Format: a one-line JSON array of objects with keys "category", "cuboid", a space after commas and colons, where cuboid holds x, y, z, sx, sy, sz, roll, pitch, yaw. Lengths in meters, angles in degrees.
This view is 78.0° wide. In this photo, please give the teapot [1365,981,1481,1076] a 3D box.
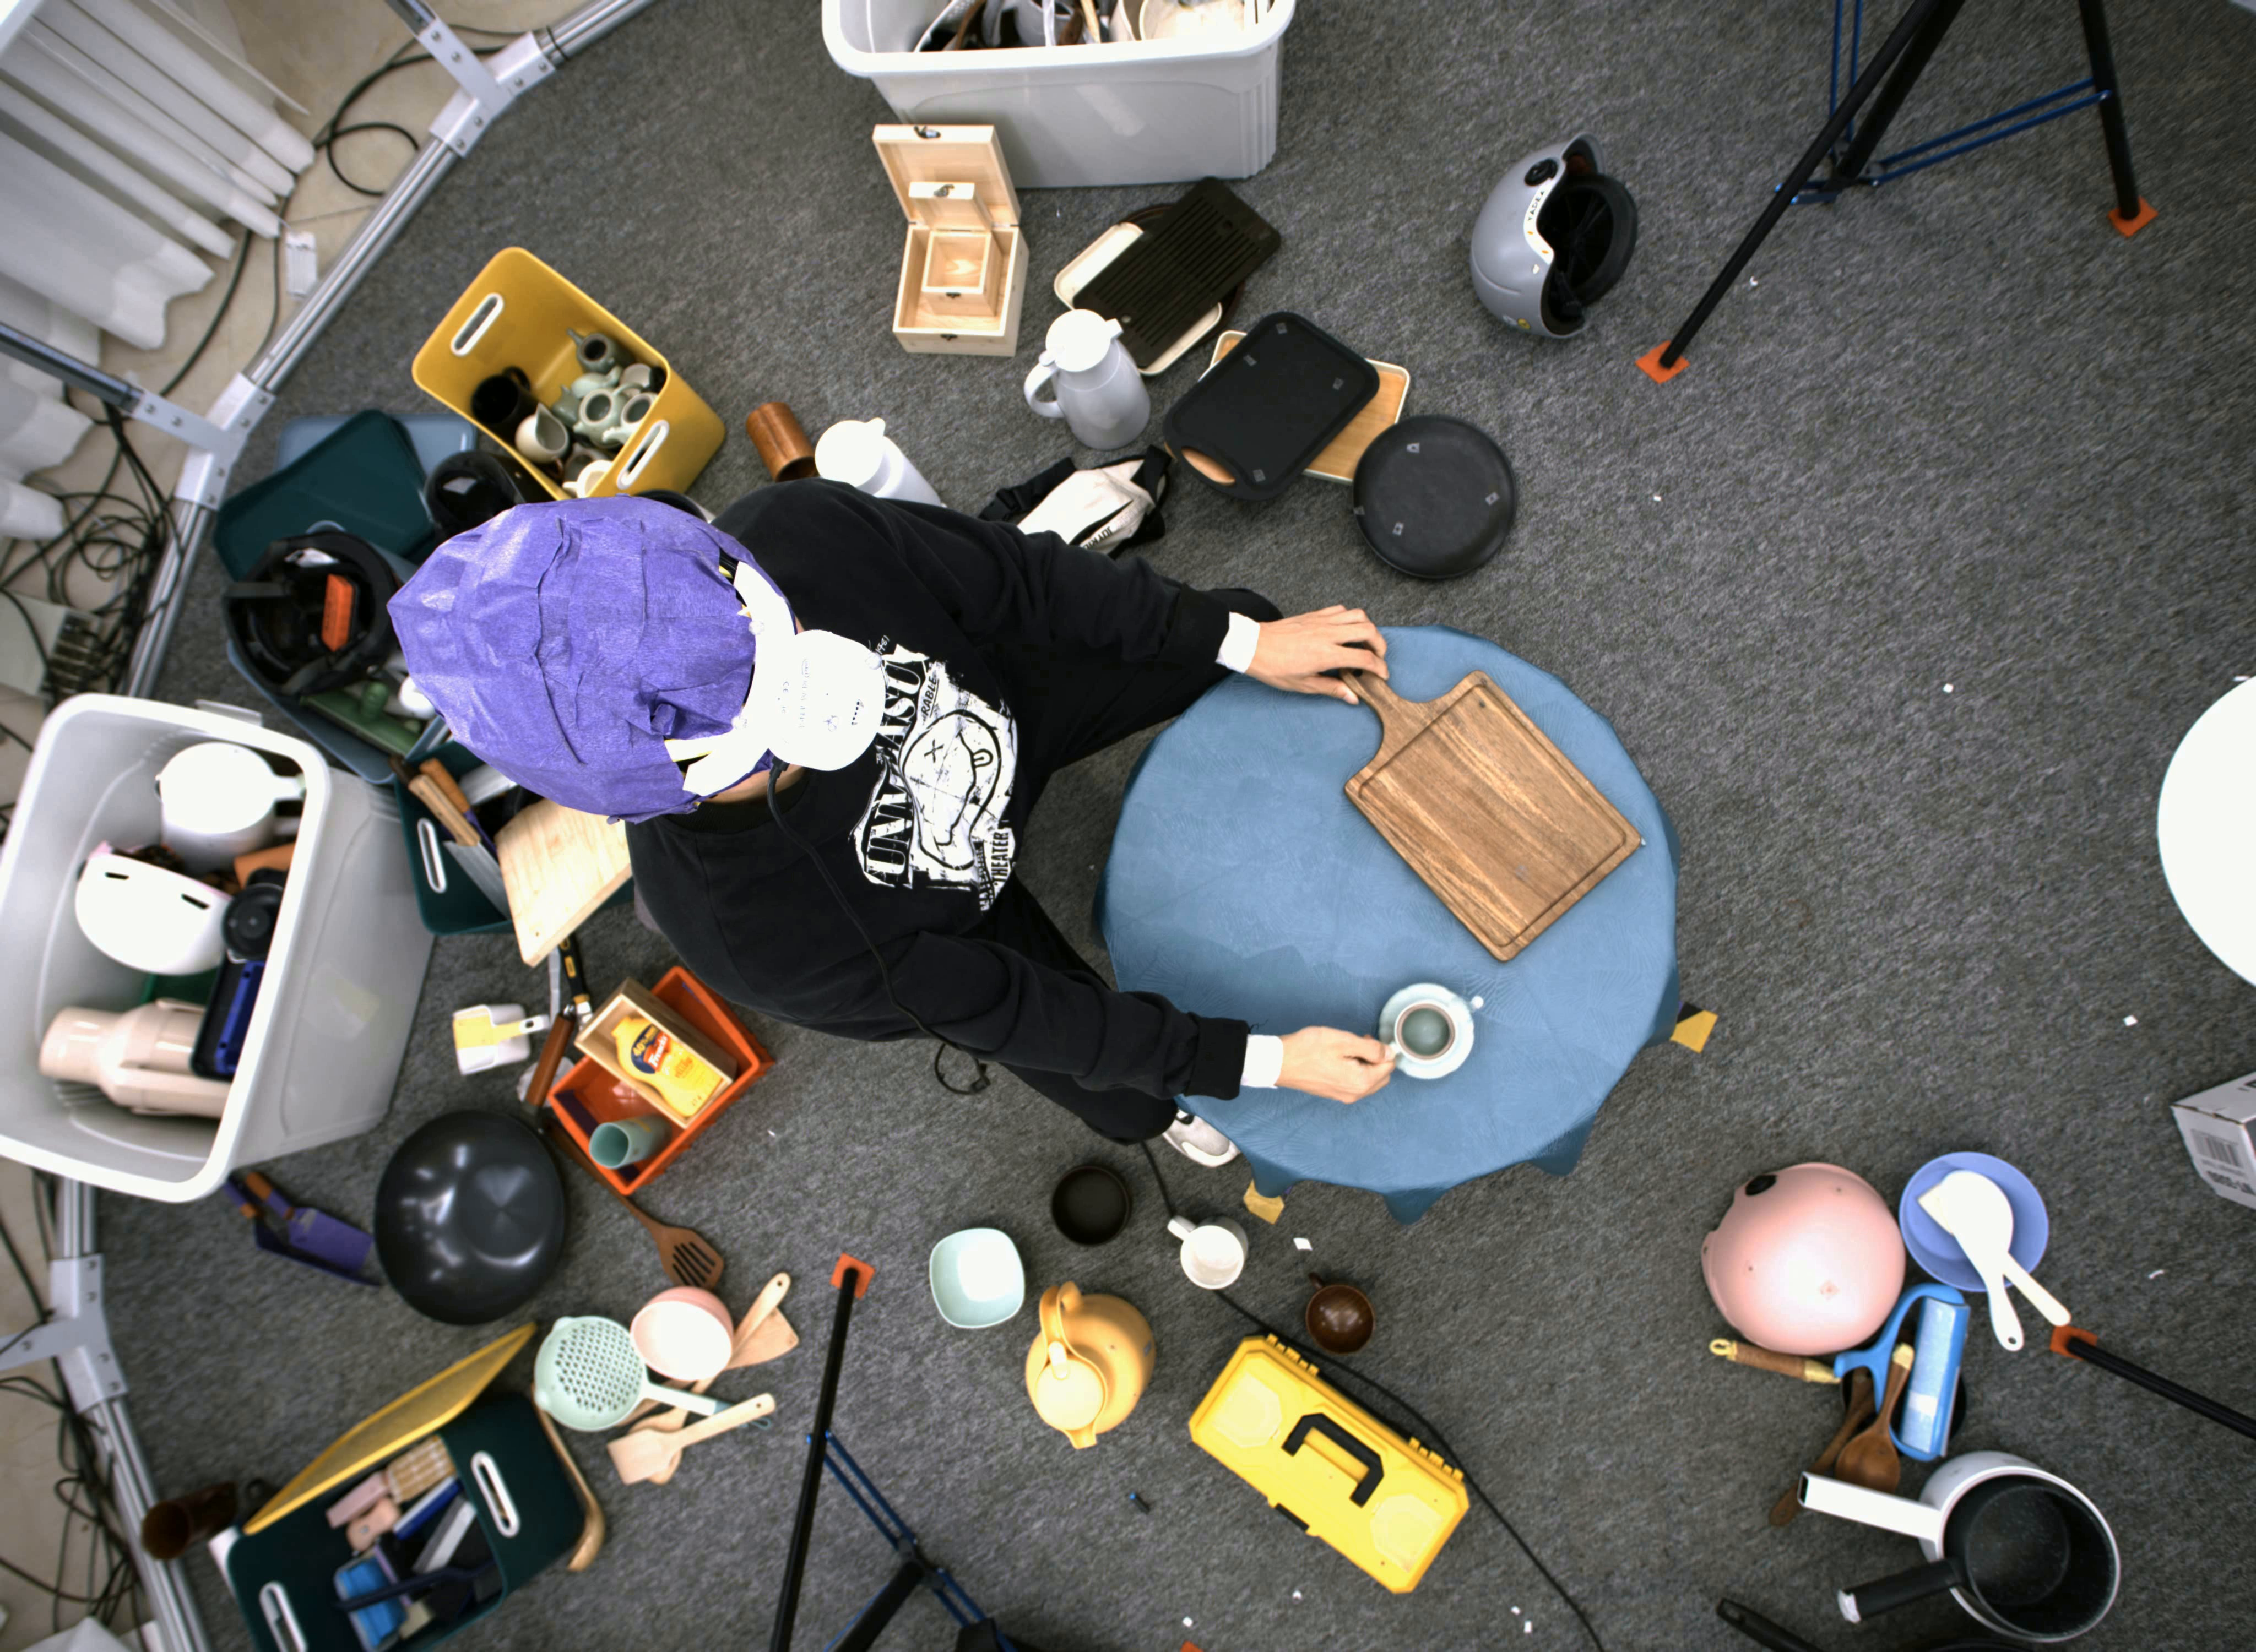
[{"category": "teapot", "cuboid": [0.300, 0.206, 1.404, 0.138, 0.061, 0.095, -33, 81, 8]}]

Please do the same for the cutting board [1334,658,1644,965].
[{"category": "cutting board", "cuboid": [0.346, -0.049, 1.441, 0.202, 0.023, 0.350, -43, 81, 6]}]
